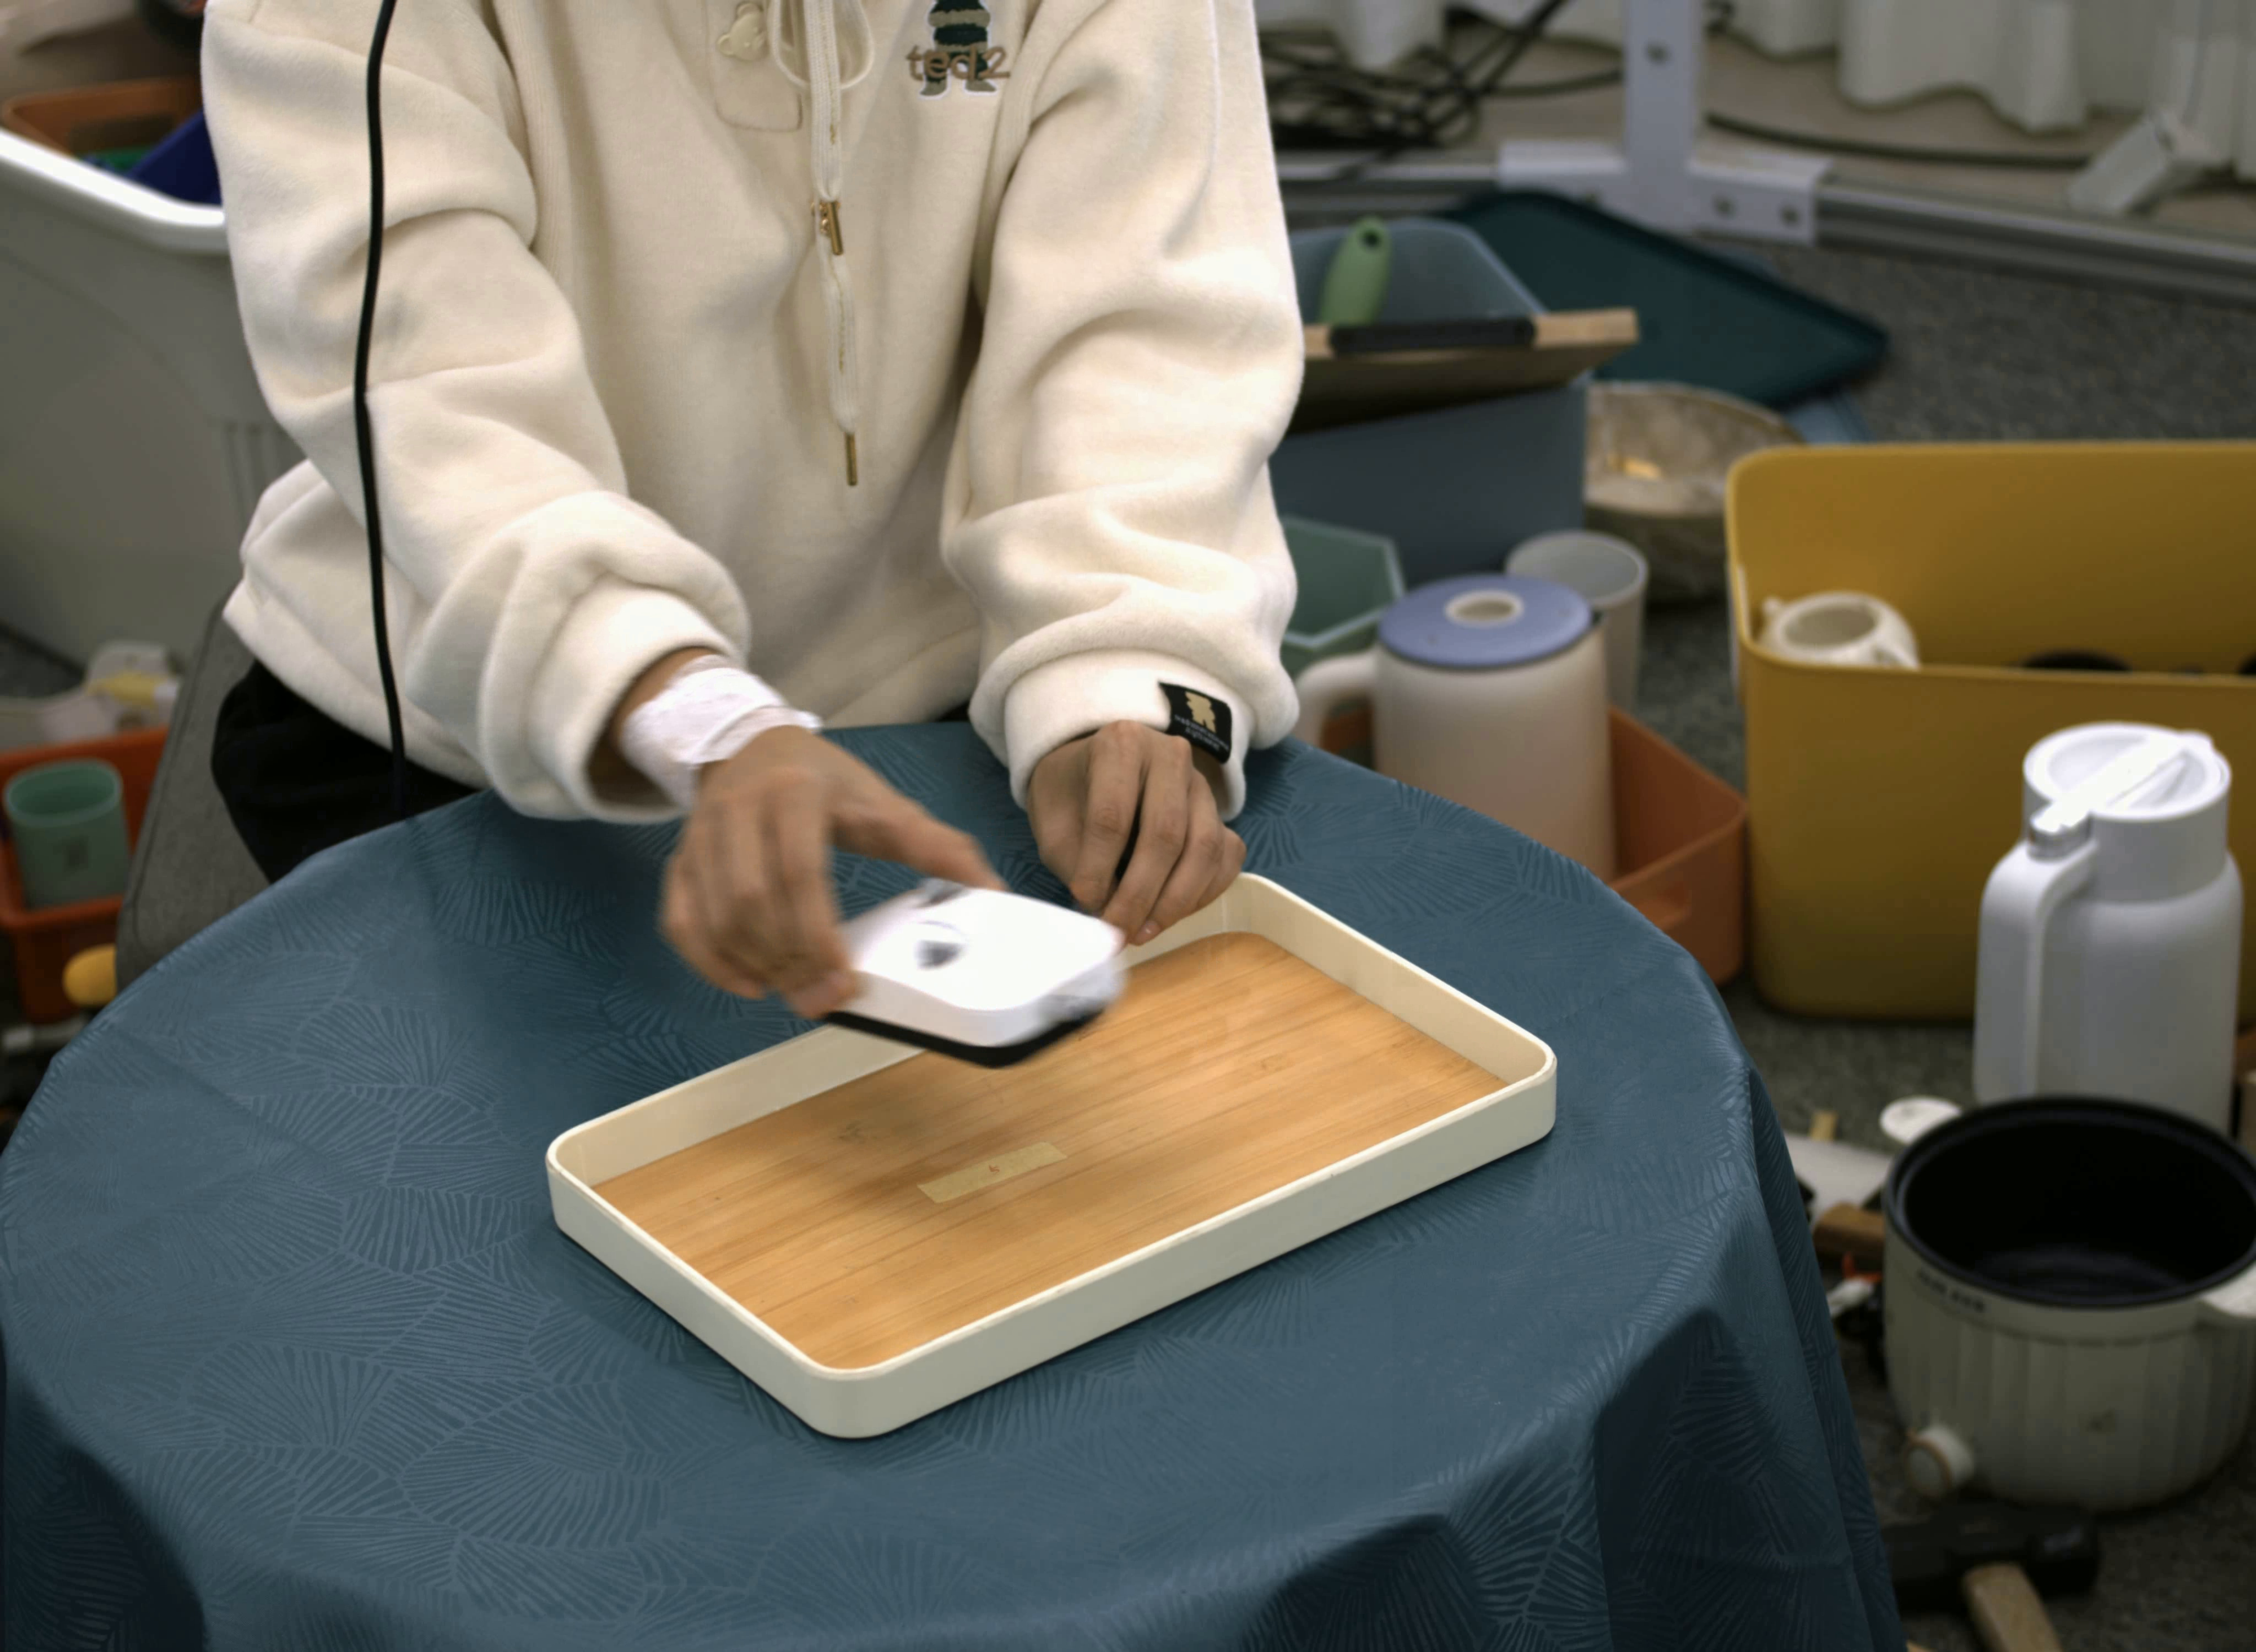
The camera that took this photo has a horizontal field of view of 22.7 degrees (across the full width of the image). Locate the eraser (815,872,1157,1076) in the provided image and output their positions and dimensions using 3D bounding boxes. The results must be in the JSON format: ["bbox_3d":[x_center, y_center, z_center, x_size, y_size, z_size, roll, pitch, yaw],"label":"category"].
[{"bbox_3d":[-0.046,0.047,1.858,0.064,0.034,0.131,-29,25,-30],"label":"eraser"}]

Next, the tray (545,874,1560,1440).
[{"bbox_3d":[-0.024,0.105,1.868,0.303,0.027,0.192,-21,32,-31],"label":"tray"}]
